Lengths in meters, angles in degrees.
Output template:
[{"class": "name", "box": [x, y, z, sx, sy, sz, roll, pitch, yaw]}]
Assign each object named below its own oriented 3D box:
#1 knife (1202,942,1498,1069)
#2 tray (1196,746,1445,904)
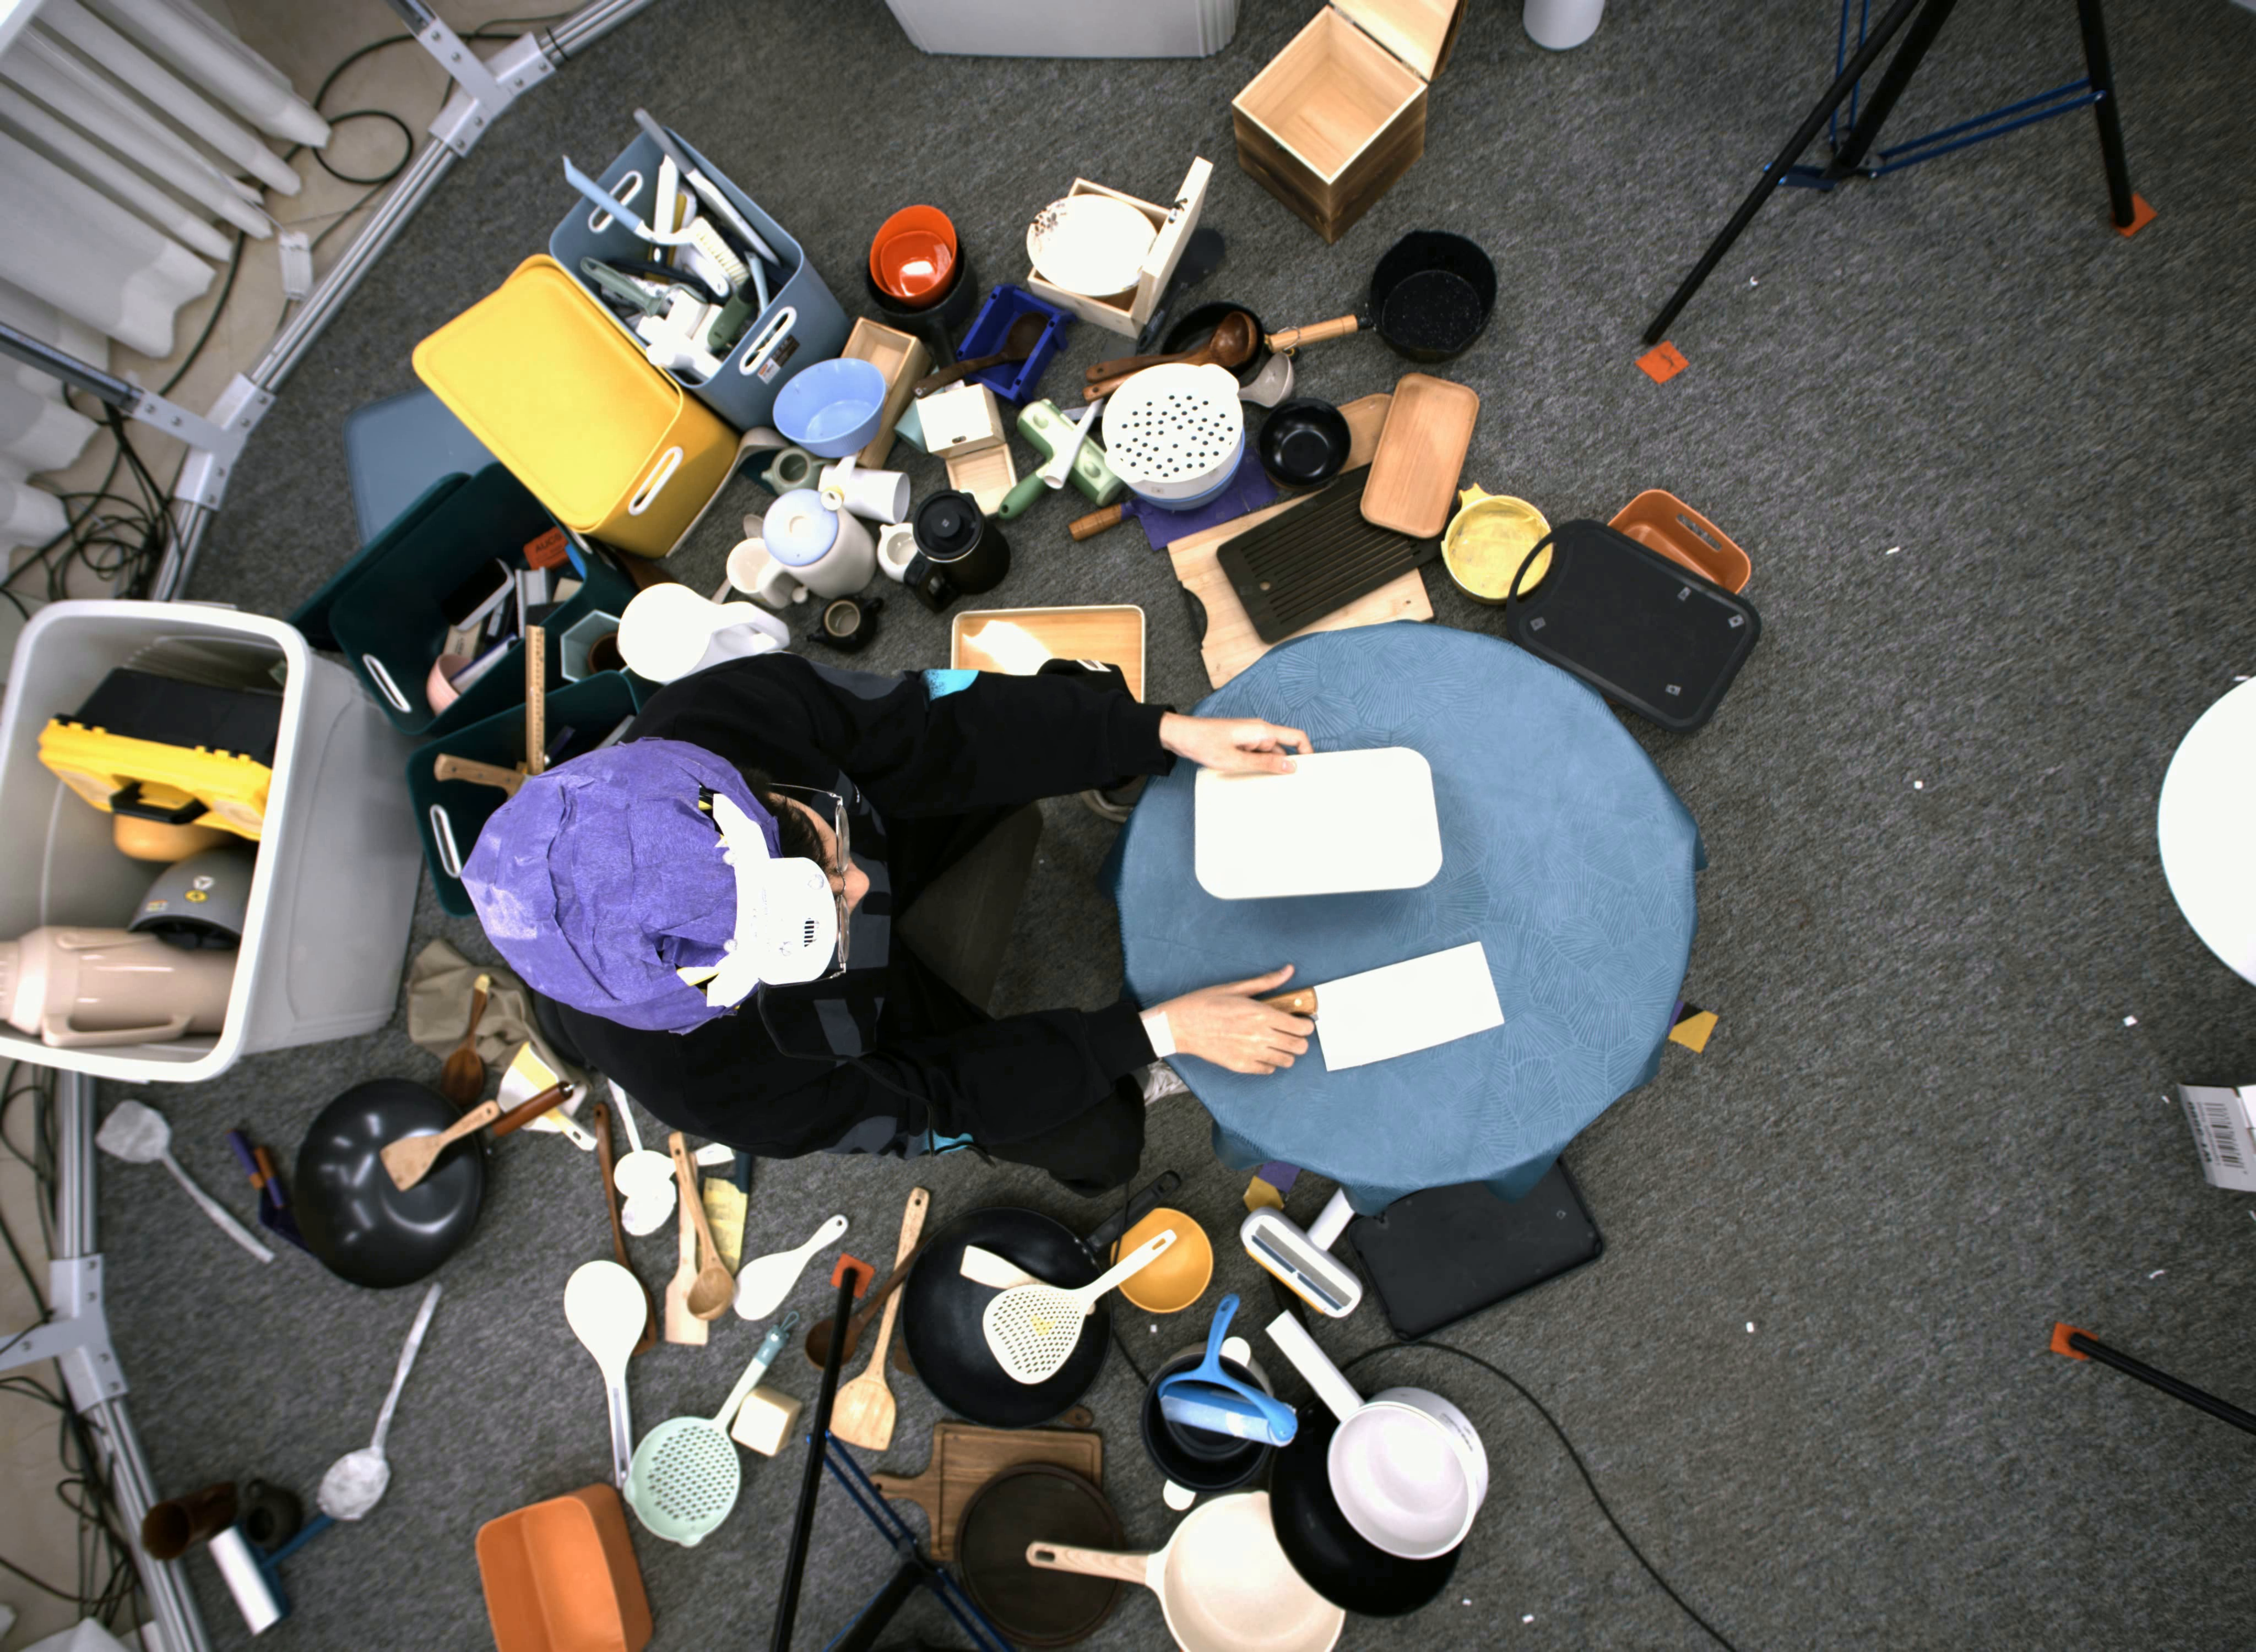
[{"class": "knife", "box": [0.233, 0.201, 1.452, 0.307, 0.021, 0.092, -16, 85, 7]}, {"class": "tray", "box": [0.189, -0.002, 1.383, 0.240, 0.018, 0.167, -5, 58, 8]}]
